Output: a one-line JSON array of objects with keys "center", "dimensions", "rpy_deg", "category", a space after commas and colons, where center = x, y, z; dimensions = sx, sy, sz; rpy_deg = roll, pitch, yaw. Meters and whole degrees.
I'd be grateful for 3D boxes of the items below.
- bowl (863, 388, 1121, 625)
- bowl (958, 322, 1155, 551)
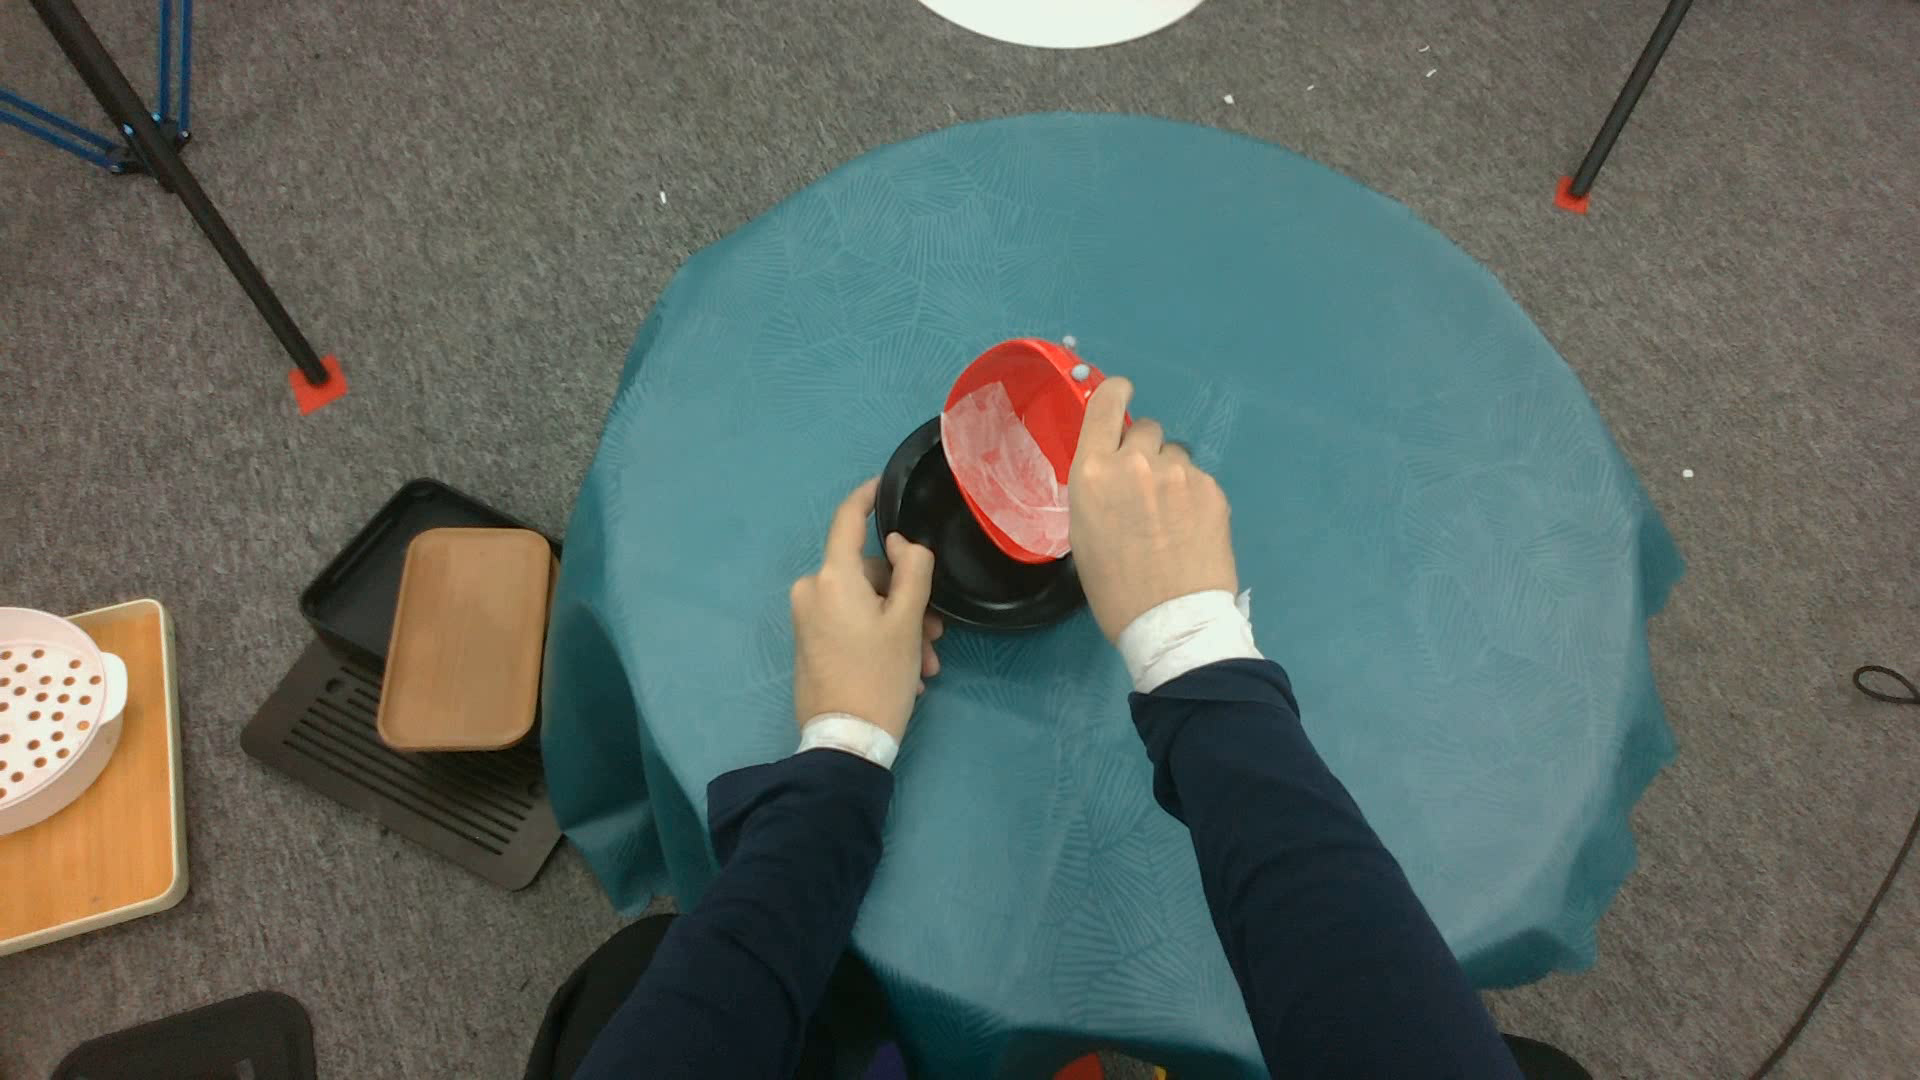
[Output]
[{"center": [0.016, -0.013, 0.759], "dimensions": [0.140, 0.049, 0.140], "rpy_deg": [1, 67, -2], "category": "bowl"}, {"center": [0.057, -0.055, 0.717], "dimensions": [0.051, 0.118, 0.119], "rpy_deg": [-11, 59, -43], "category": "bowl"}]
